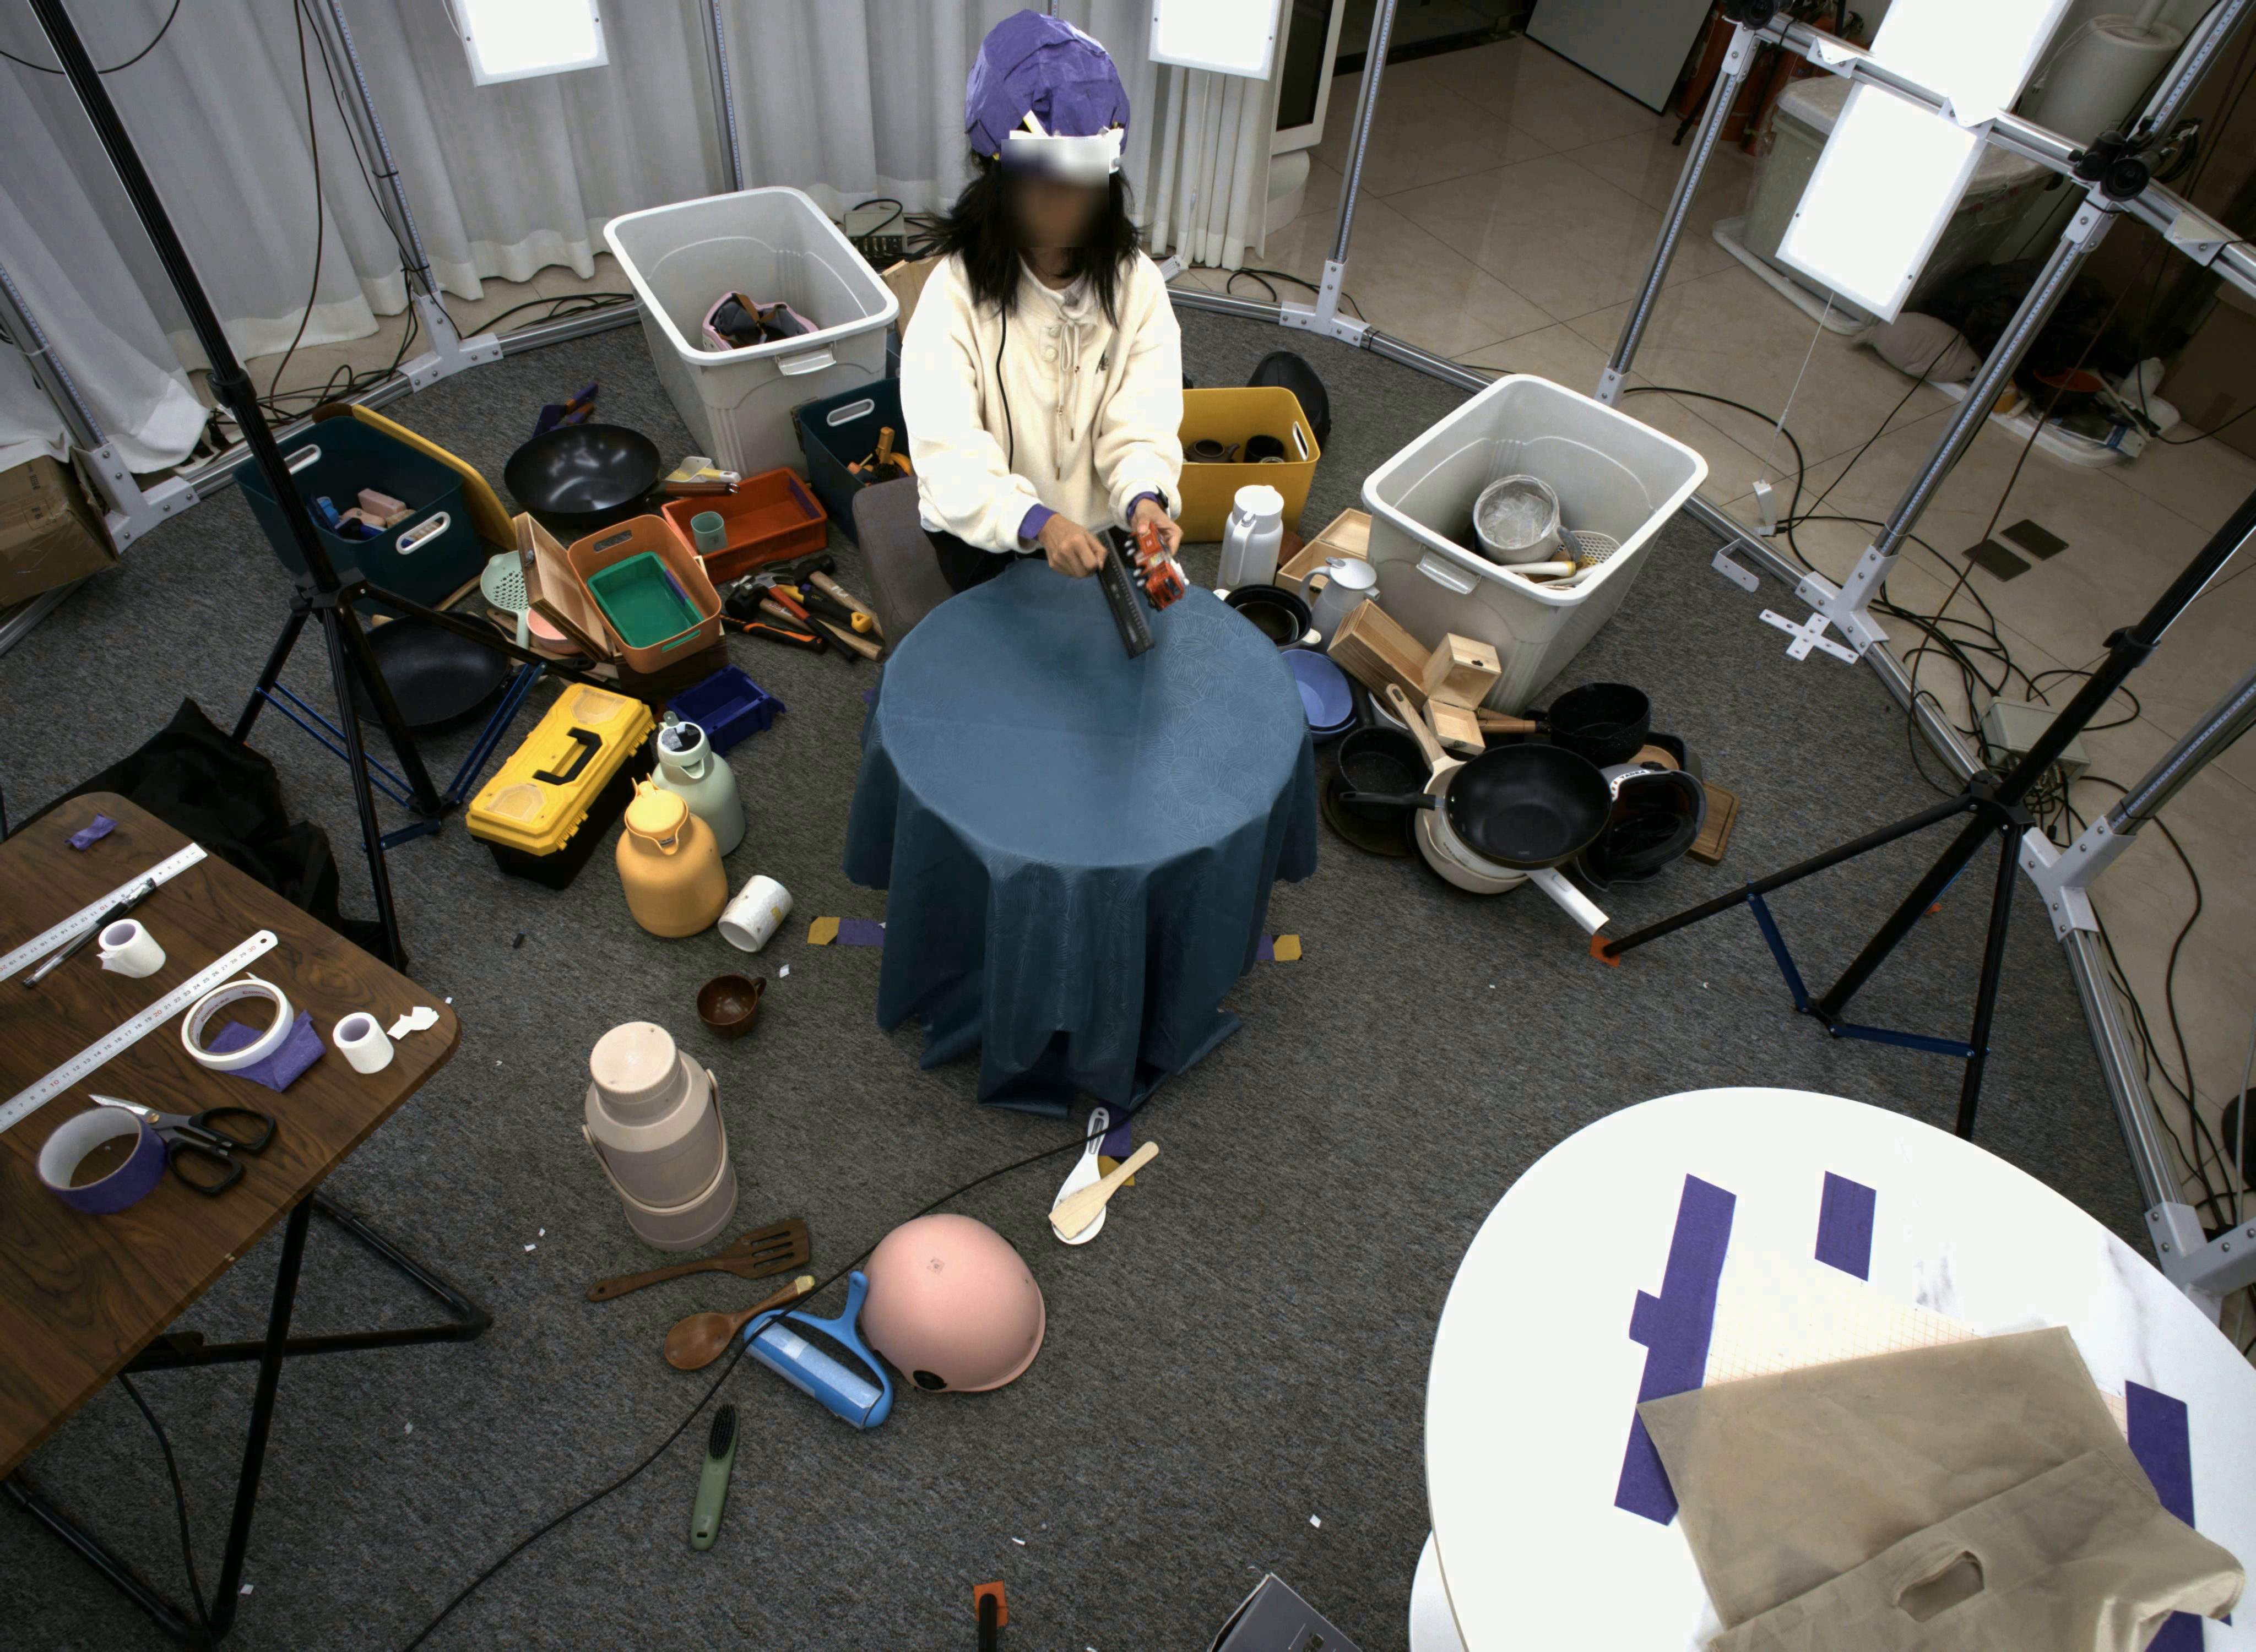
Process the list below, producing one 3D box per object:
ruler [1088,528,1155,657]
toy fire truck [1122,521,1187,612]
[{"bbox_3d":[-0.013,-0.328,1.748,0.039,0.017,0.320,-24,41,6],"label":"ruler"},{"bbox_3d":[0.037,-0.363,1.793,0.070,0.053,0.172,-32,36,13],"label":"toy fire truck"}]
